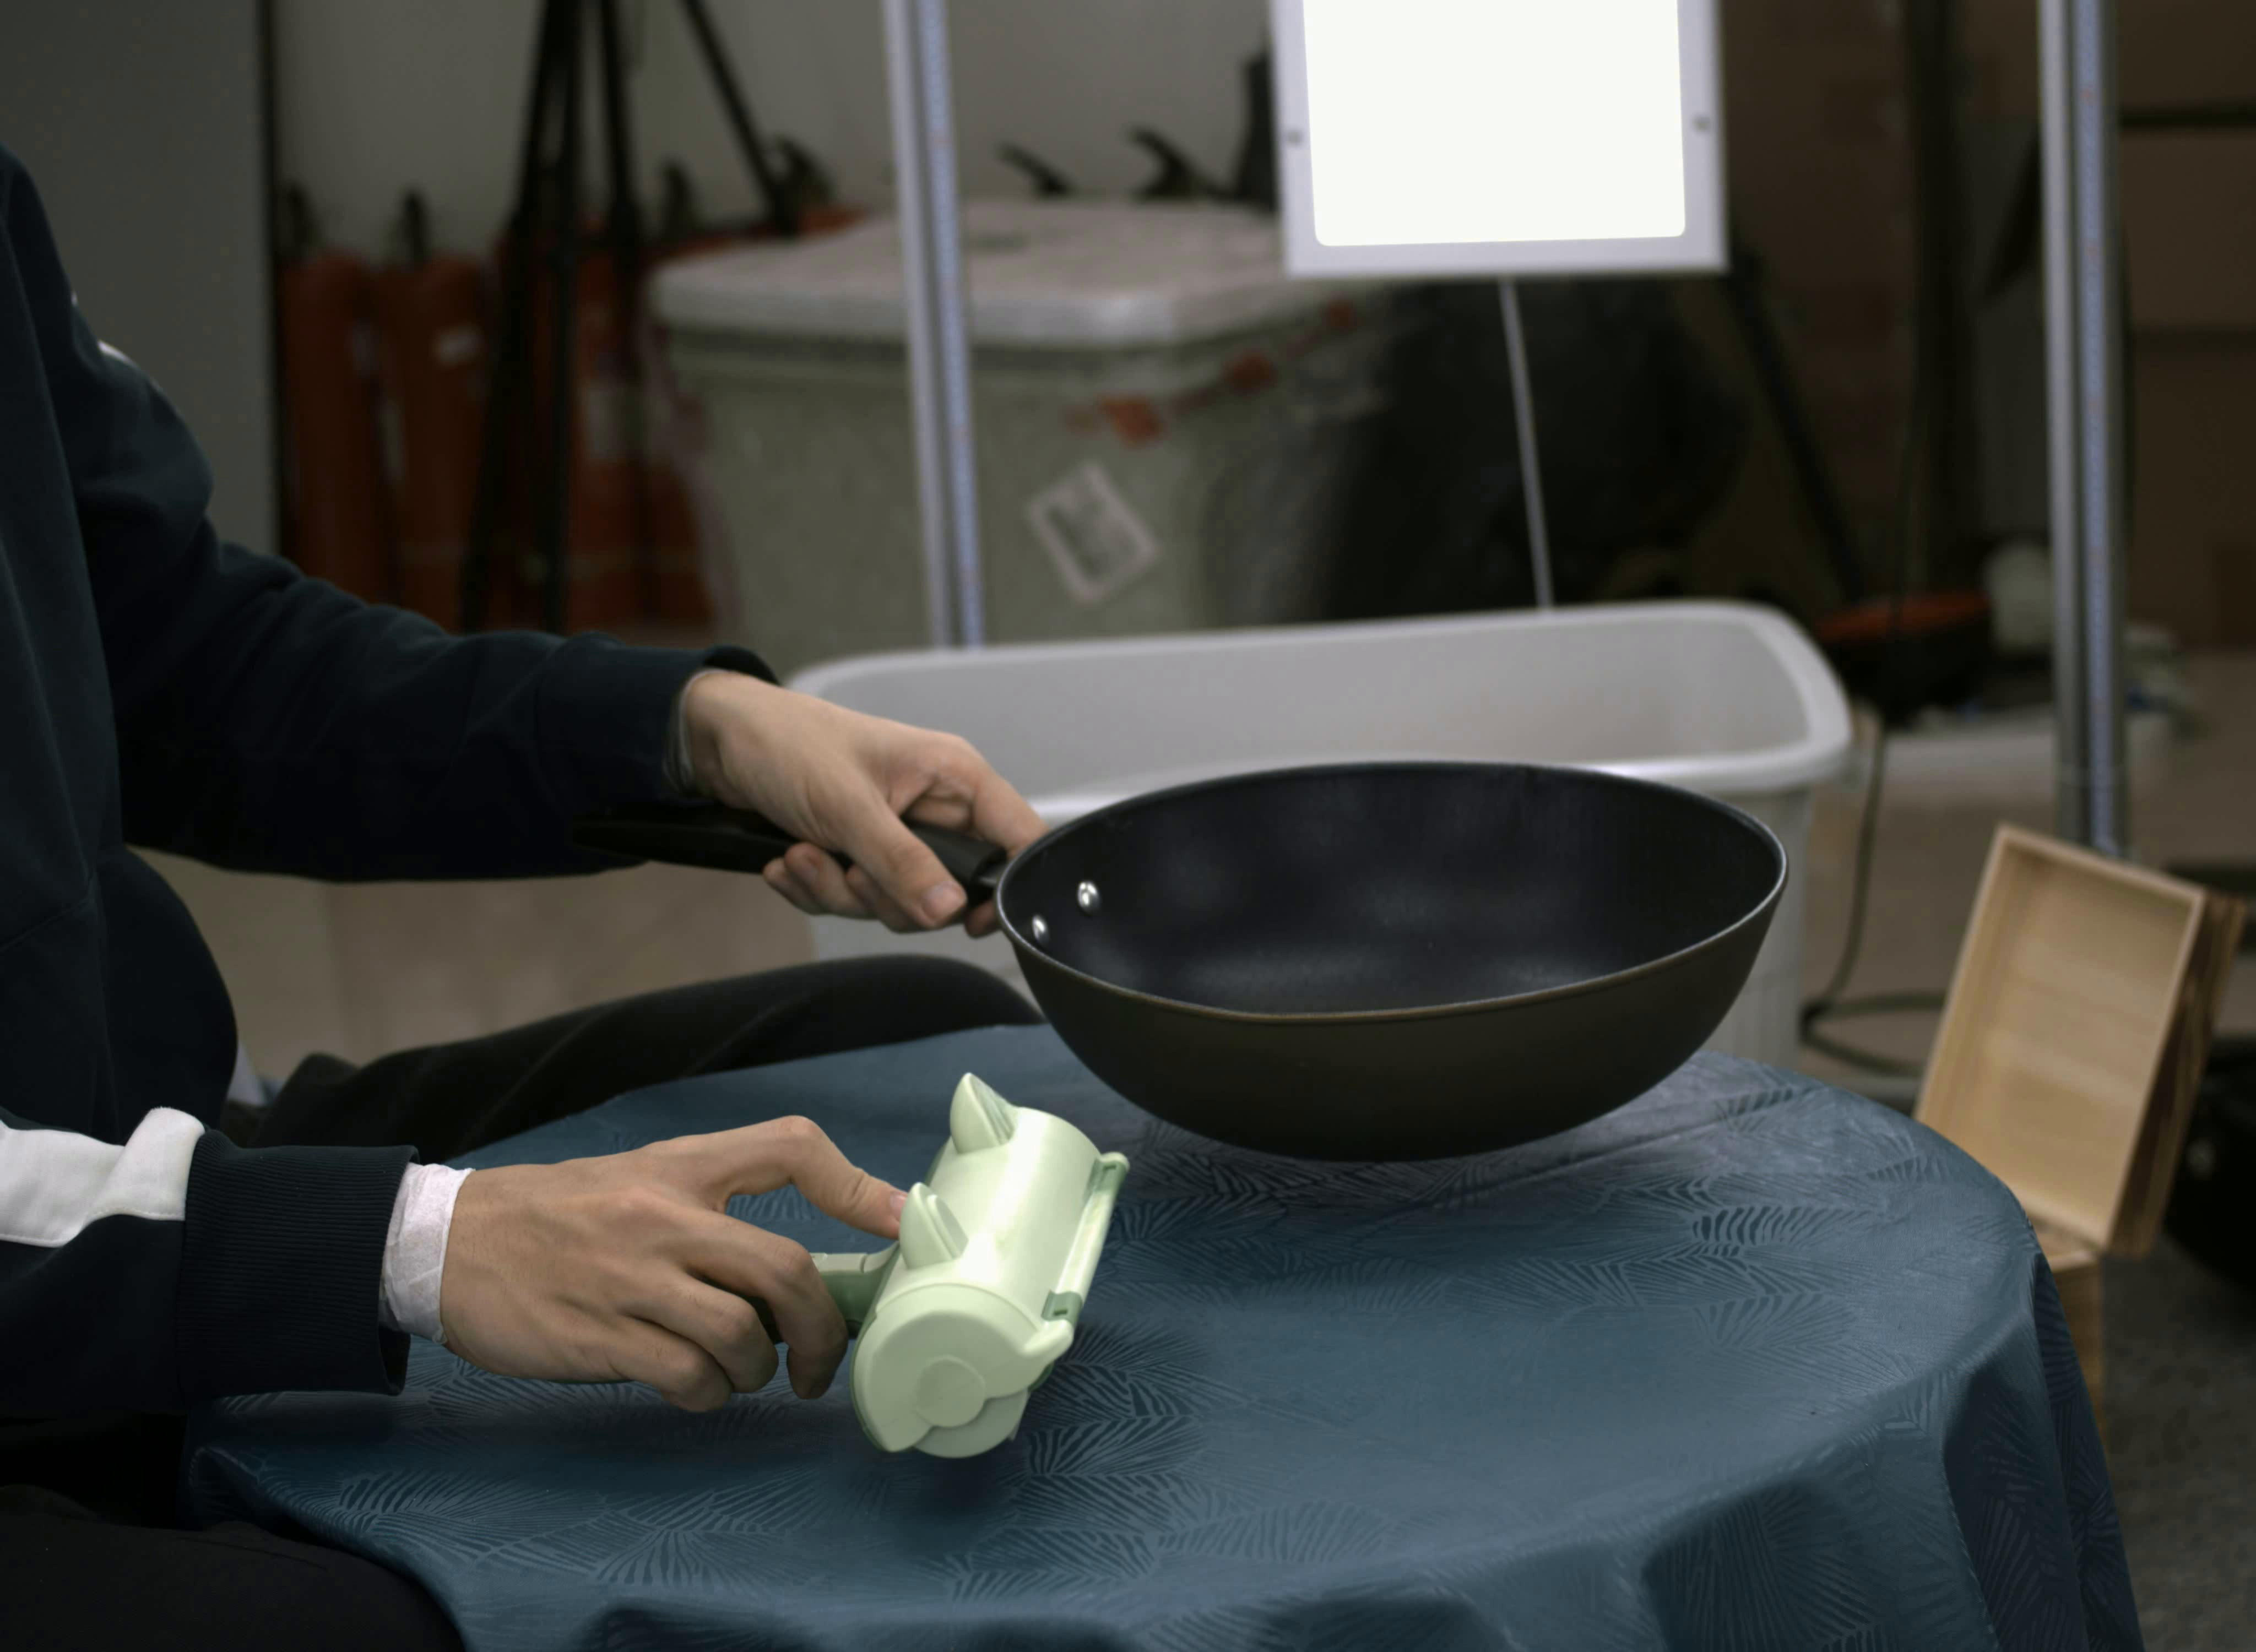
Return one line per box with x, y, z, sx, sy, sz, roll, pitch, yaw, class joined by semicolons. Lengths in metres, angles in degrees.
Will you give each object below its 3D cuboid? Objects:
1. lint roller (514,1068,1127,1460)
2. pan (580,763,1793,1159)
-0.099;0.129;1.688;0.184;0.082;0.197;0;14;7;lint roller
0.011;0.048;1.959;0.471;0.087;0.282;3;18;25;pan
